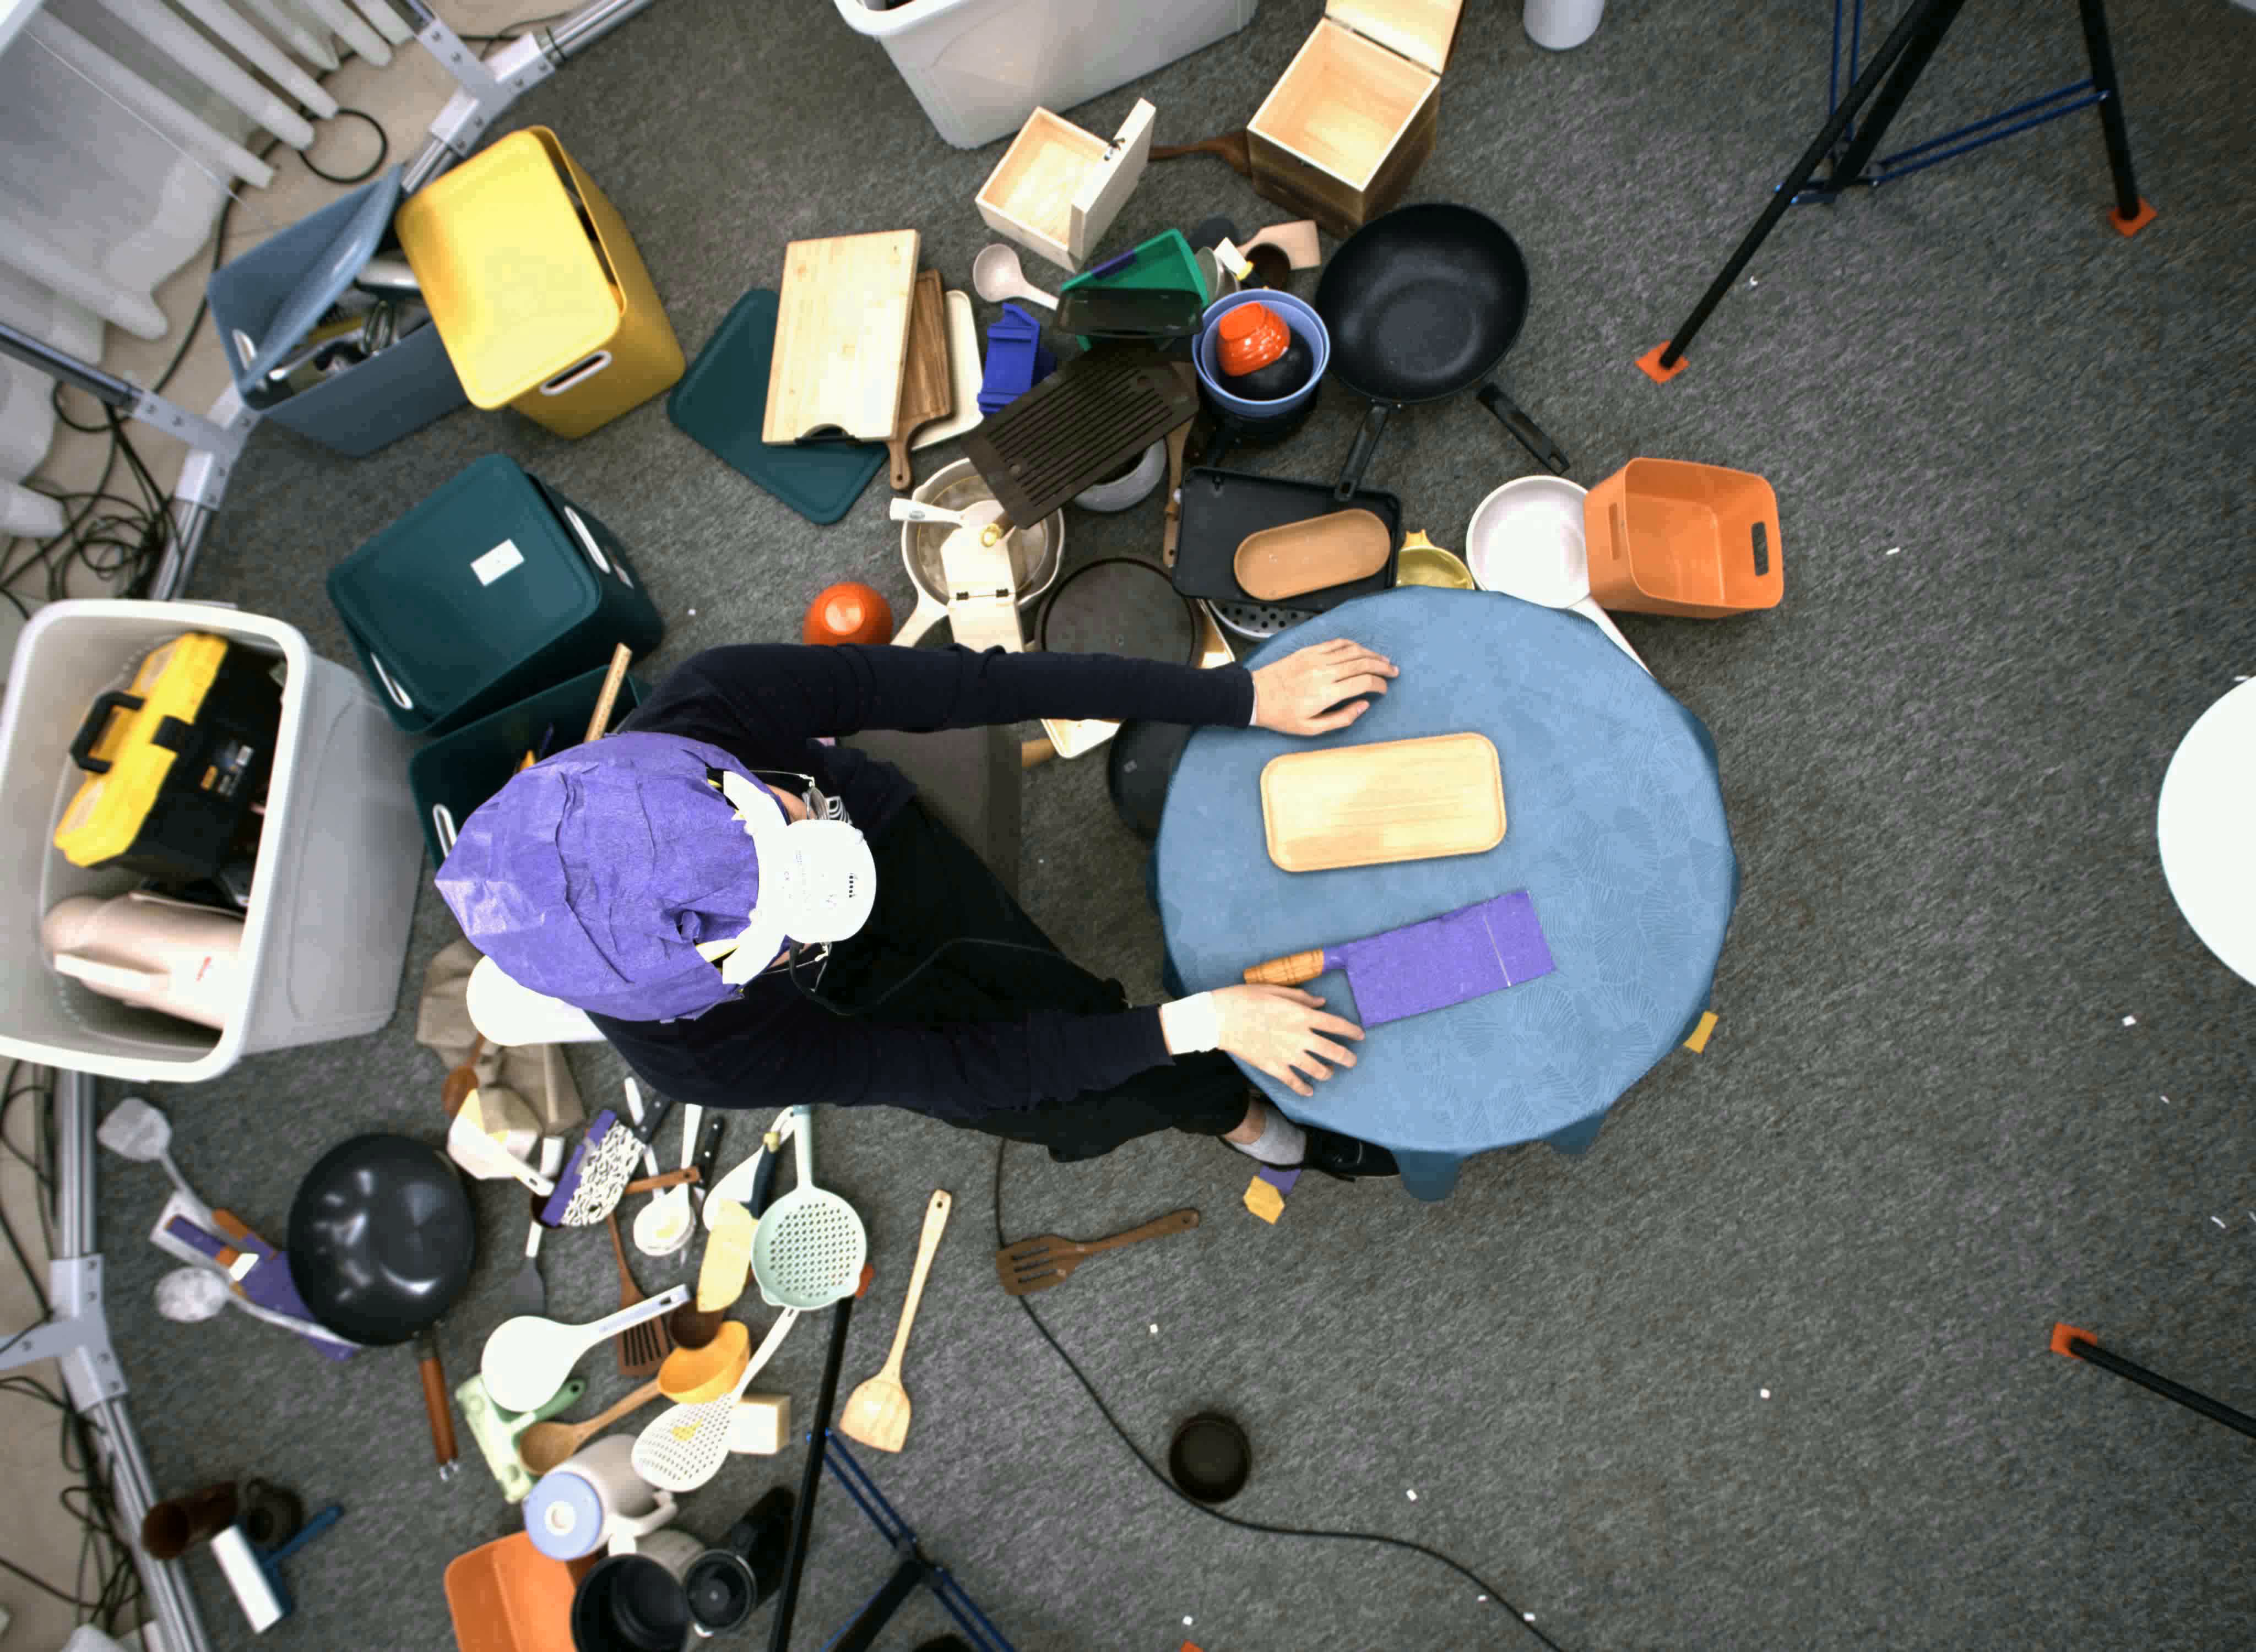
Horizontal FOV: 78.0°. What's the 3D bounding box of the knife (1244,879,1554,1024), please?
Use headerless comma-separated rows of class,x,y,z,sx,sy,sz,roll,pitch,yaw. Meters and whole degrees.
knife,0.282,0.149,1.440,0.317,0.032,0.103,-19,83,9

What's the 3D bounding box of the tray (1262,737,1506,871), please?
tray,0.269,-0.024,1.457,0.252,0.023,0.130,-4,88,10
